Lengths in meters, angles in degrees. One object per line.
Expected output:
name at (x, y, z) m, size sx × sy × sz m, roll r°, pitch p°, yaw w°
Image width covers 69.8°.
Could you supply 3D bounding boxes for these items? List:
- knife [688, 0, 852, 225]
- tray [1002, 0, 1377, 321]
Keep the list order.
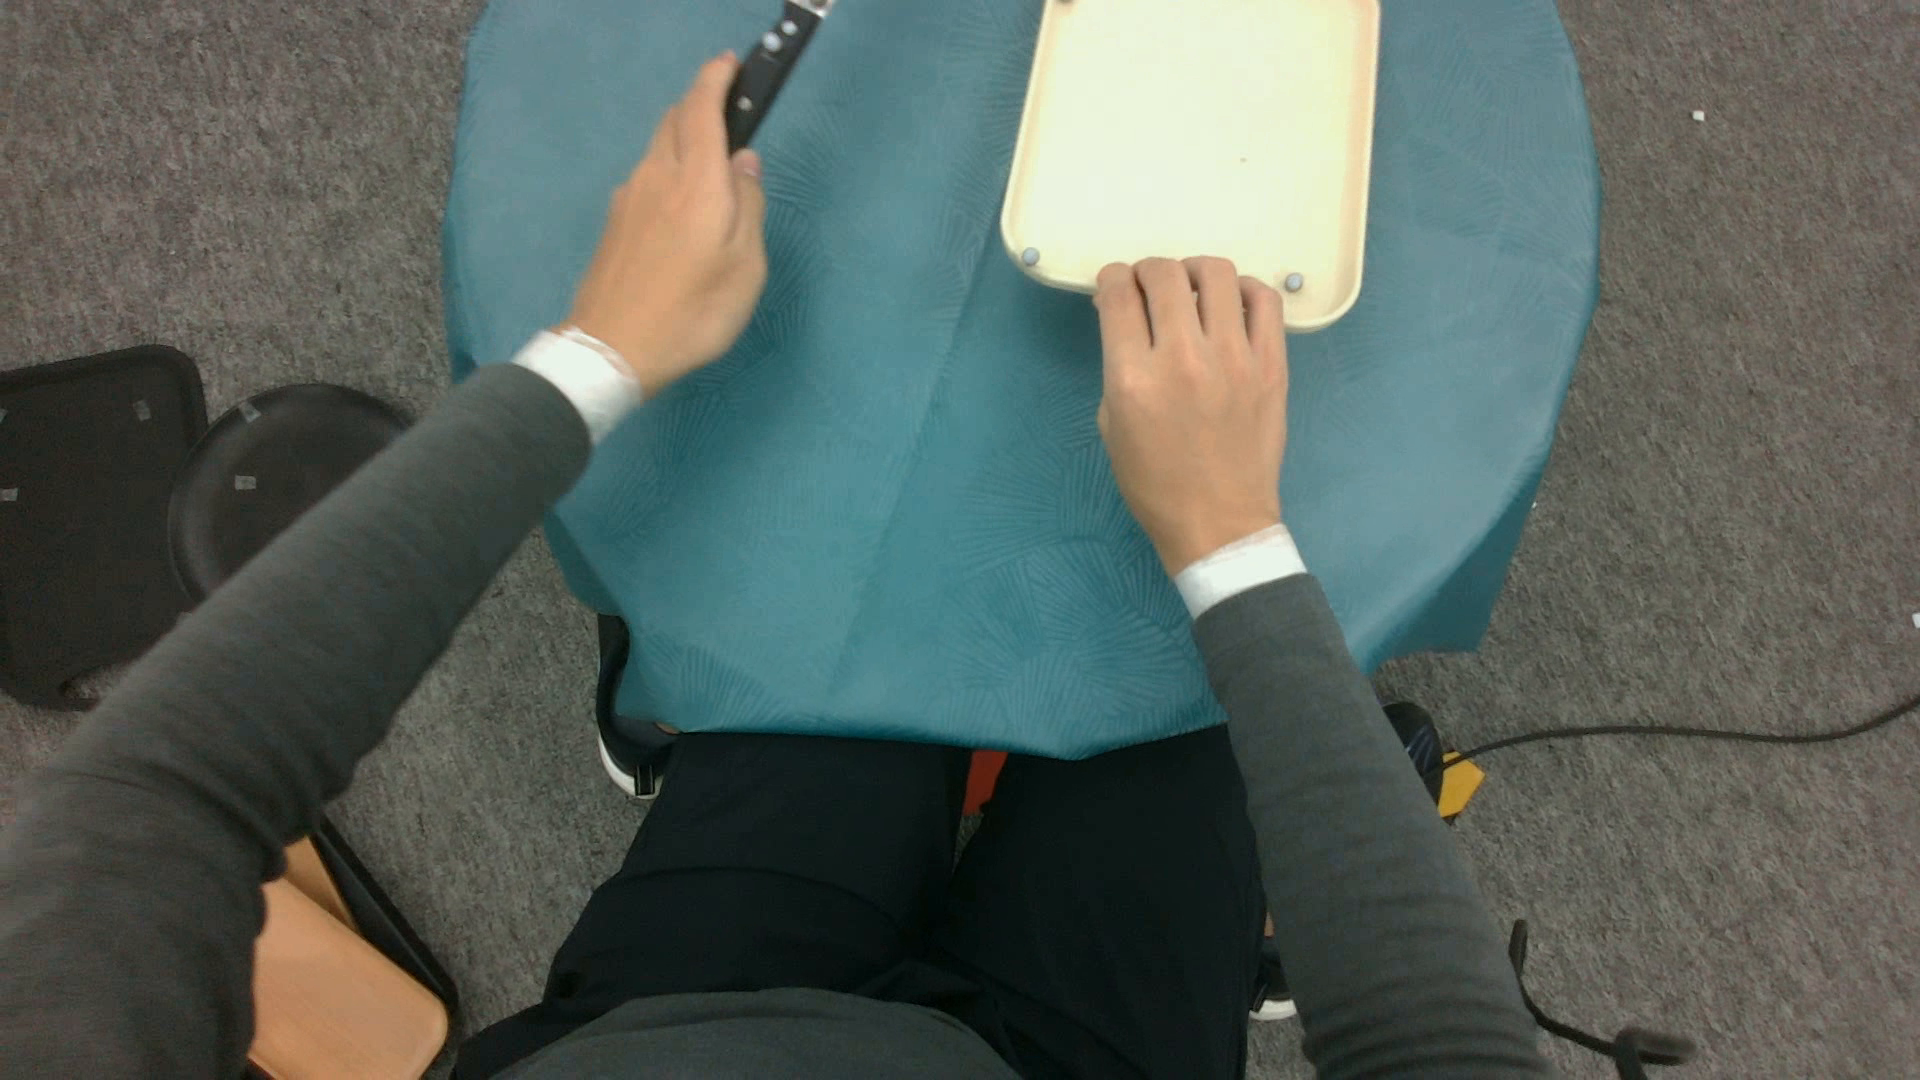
knife at (-0.068, -0.254, 0.671) m, size 0.024 × 0.016 × 0.238 m, roll 23°, pitch 79°, yaw 18°
tray at (0.119, -0.220, 0.694) m, size 0.171 × 0.017 × 0.240 m, roll 13°, pitch 66°, yaw -1°
